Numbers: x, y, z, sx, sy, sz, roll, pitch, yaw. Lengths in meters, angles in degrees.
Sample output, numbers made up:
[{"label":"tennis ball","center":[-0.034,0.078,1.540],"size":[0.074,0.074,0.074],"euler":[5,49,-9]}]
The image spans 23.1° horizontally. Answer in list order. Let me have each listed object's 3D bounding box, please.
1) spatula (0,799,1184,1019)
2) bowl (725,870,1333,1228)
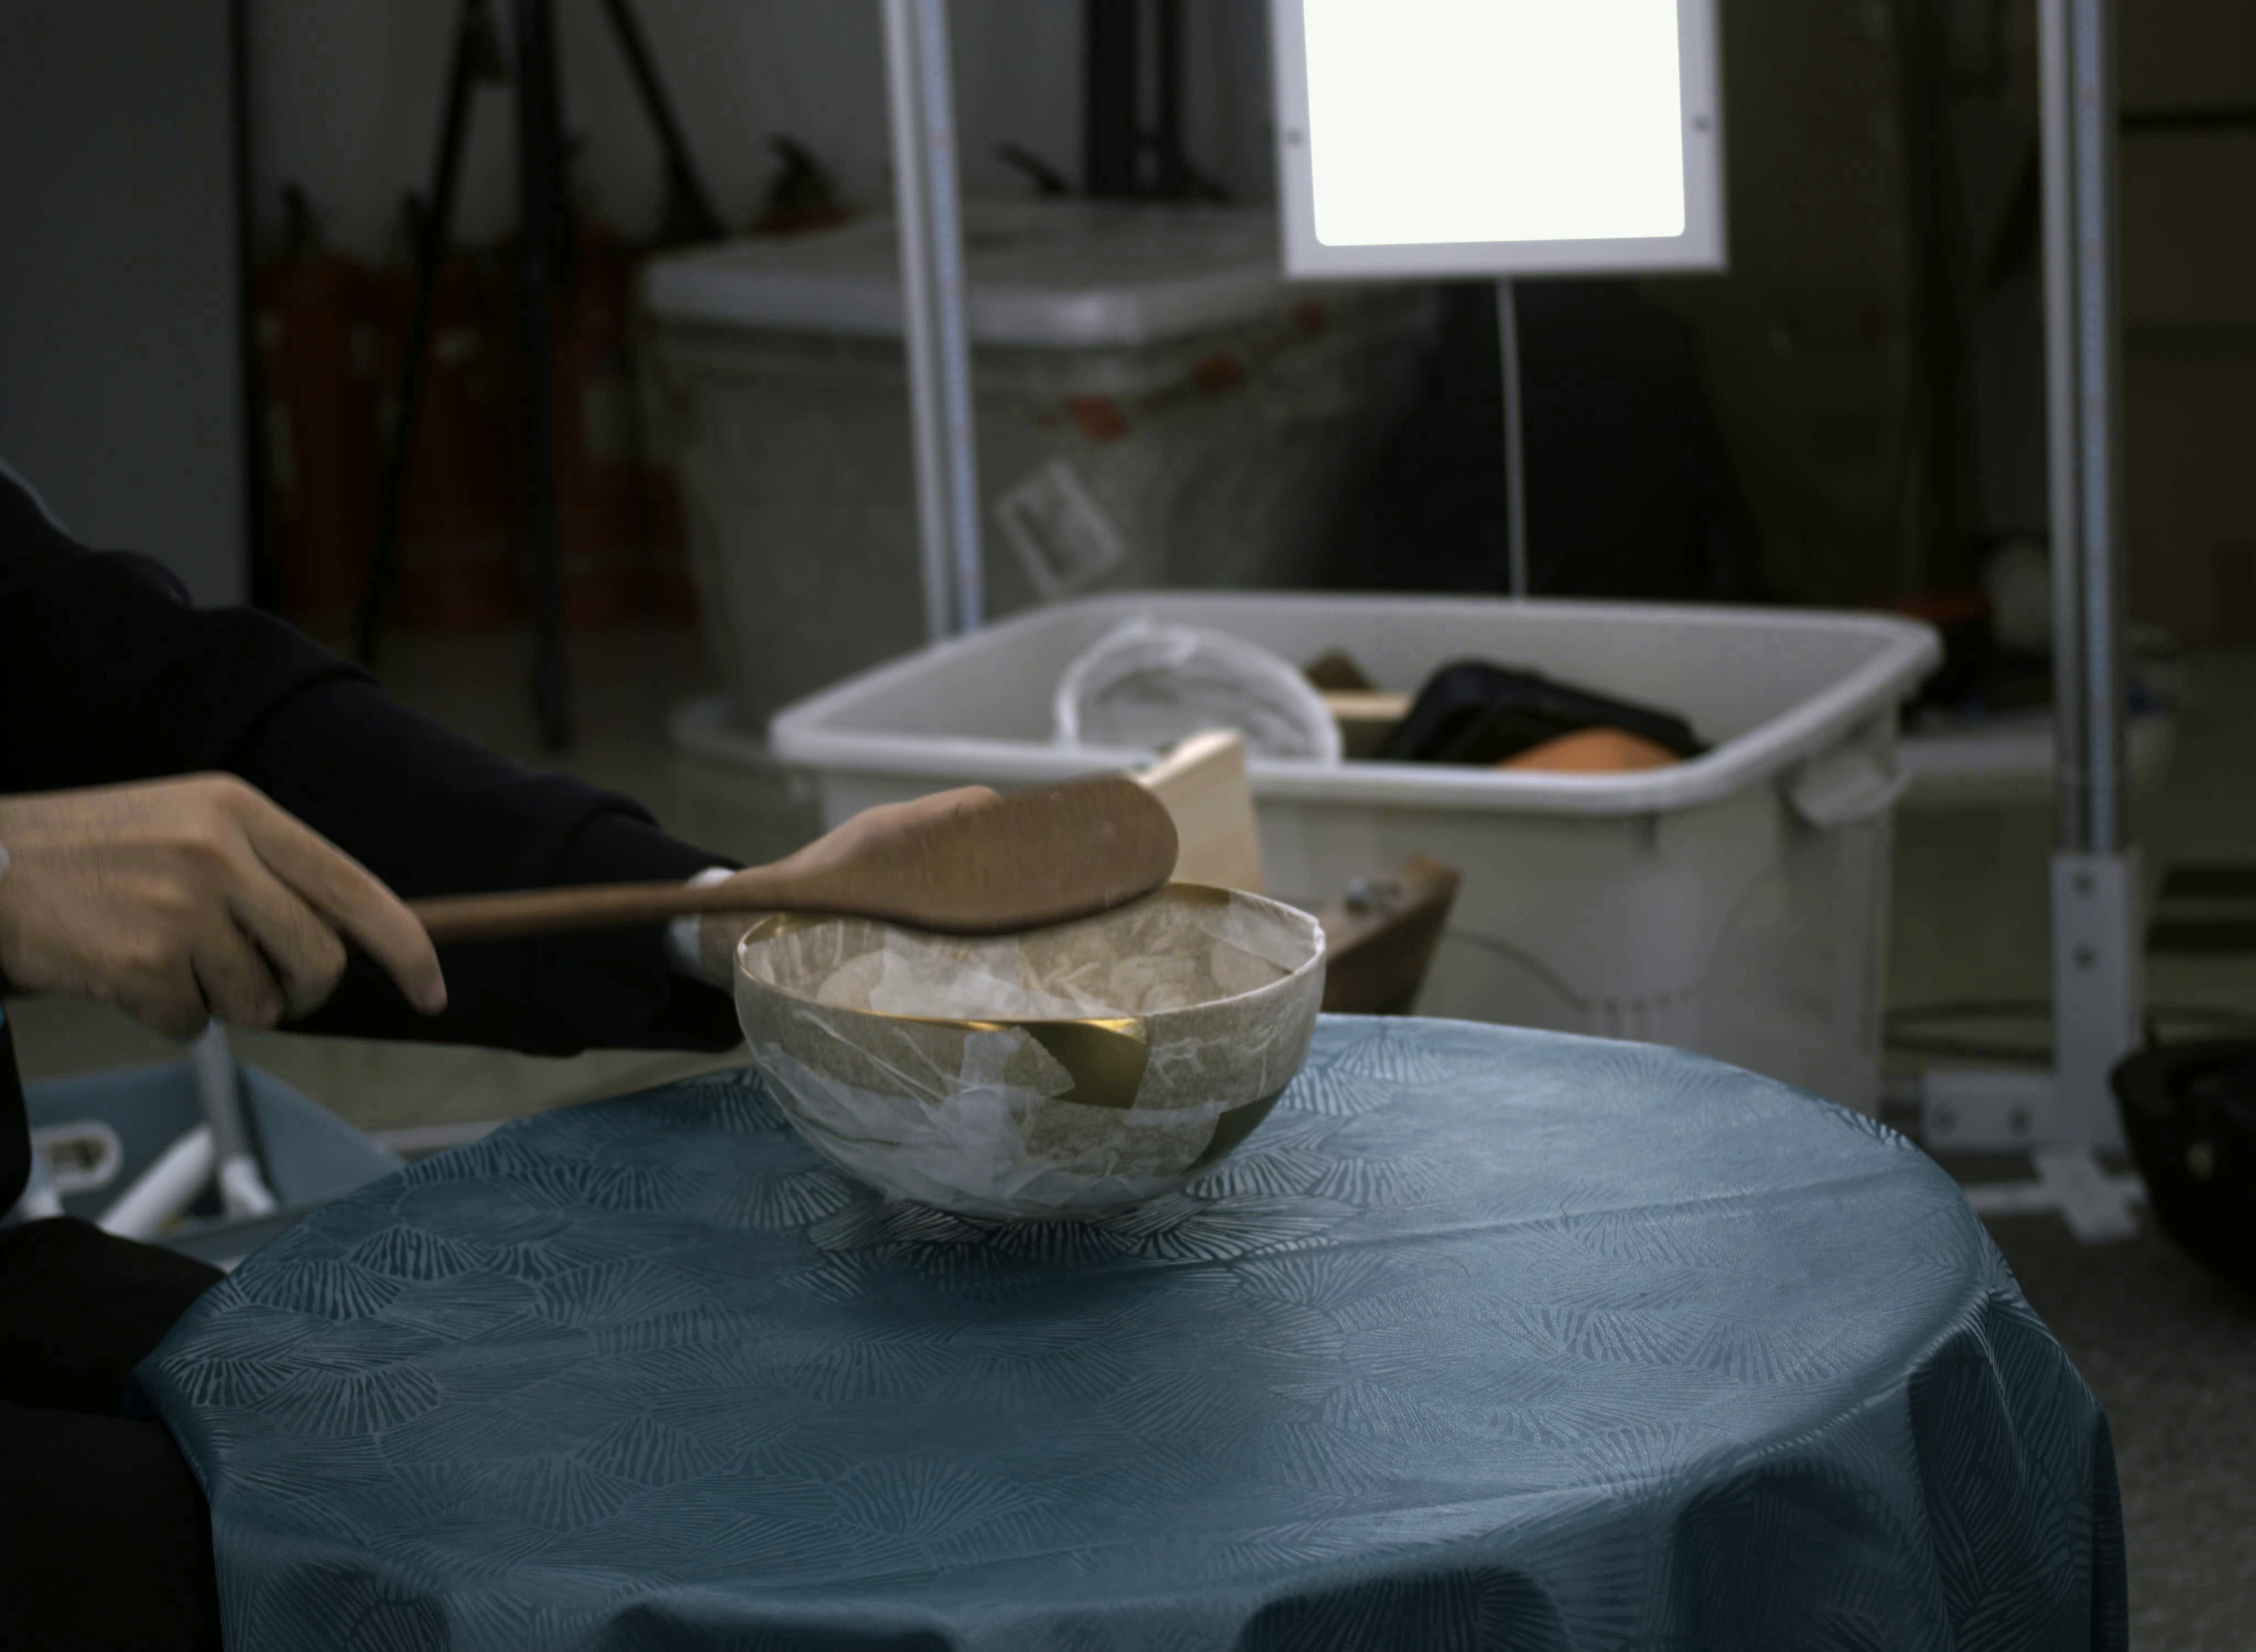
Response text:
[{"label":"spatula","center":[-0.174,0.032,1.699],"size":[0.385,0.016,0.096],"euler":[-6,24,0]},{"label":"bowl","center":[-0.033,0.082,1.874],"size":[0.214,0.095,0.214],"euler":[-3,14,-1]}]
